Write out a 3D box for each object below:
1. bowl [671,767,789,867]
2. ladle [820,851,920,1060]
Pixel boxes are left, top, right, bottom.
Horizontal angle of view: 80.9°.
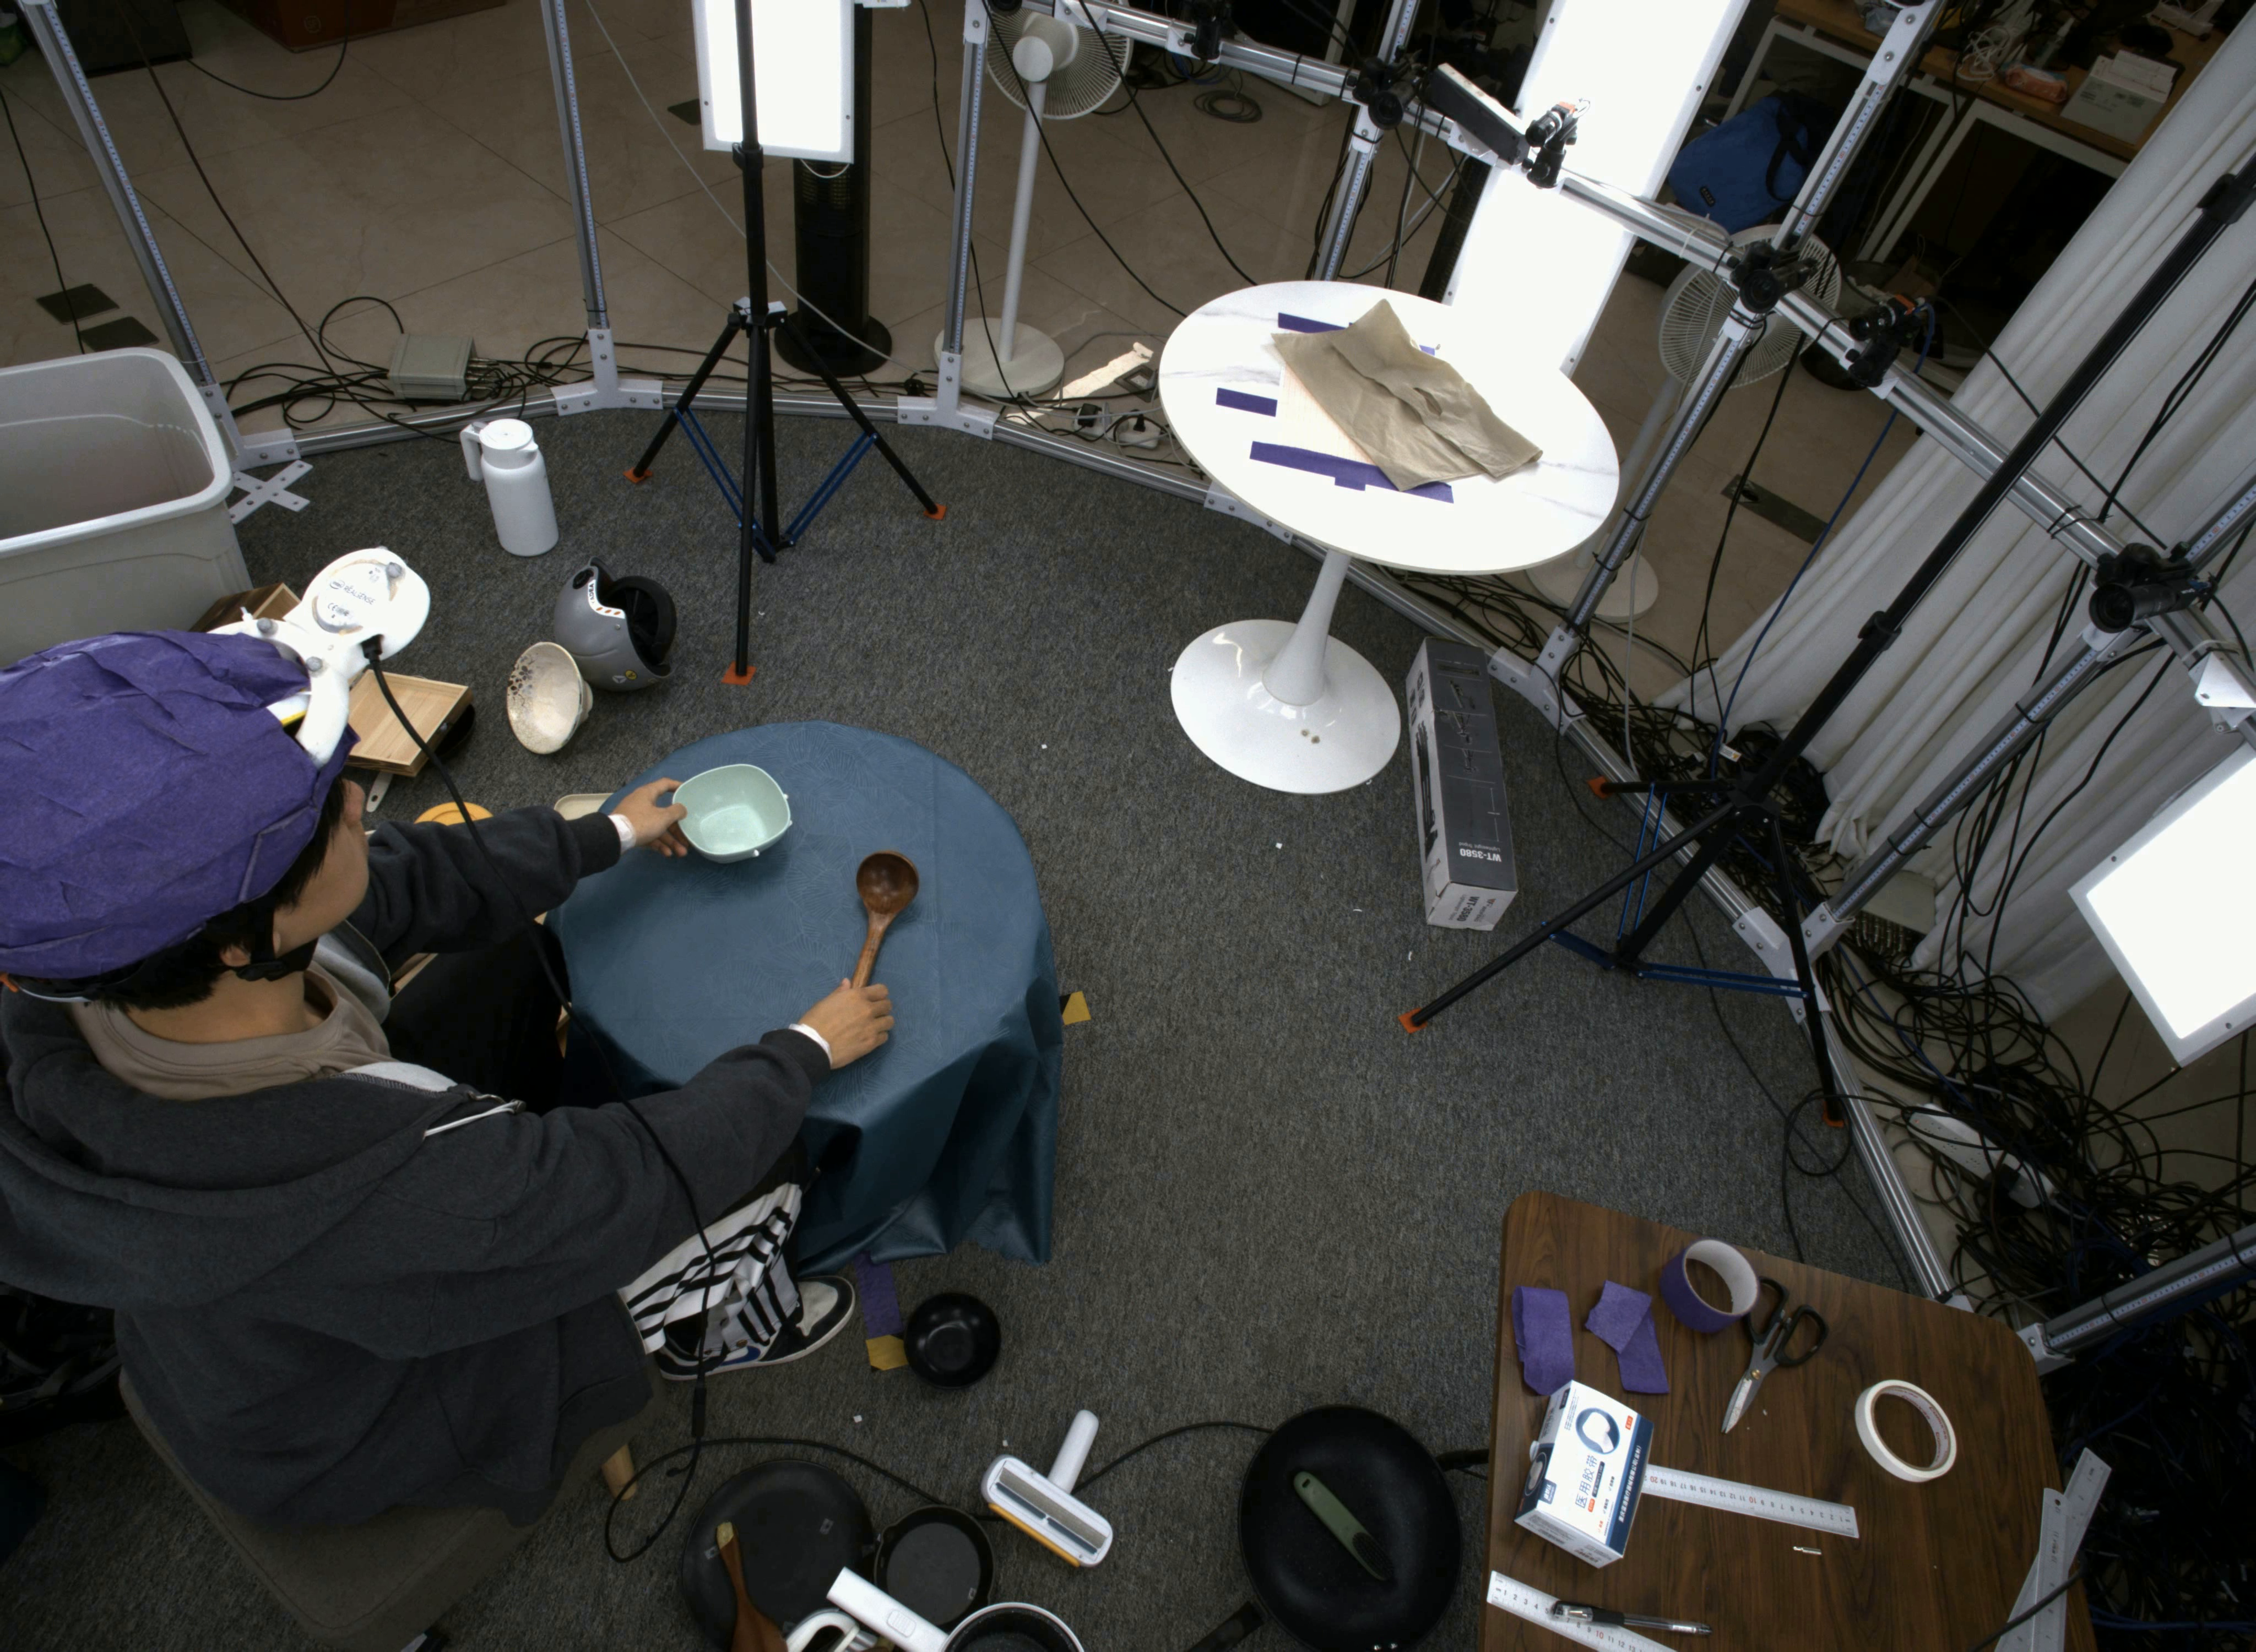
[{"bbox_3d":[-0.514,-0.003,1.669,0.151,0.059,0.148,10,50,-11],"label":"bowl"},{"bbox_3d":[-0.322,0.148,1.590,0.081,0.079,0.270,10,49,3],"label":"ladle"}]
